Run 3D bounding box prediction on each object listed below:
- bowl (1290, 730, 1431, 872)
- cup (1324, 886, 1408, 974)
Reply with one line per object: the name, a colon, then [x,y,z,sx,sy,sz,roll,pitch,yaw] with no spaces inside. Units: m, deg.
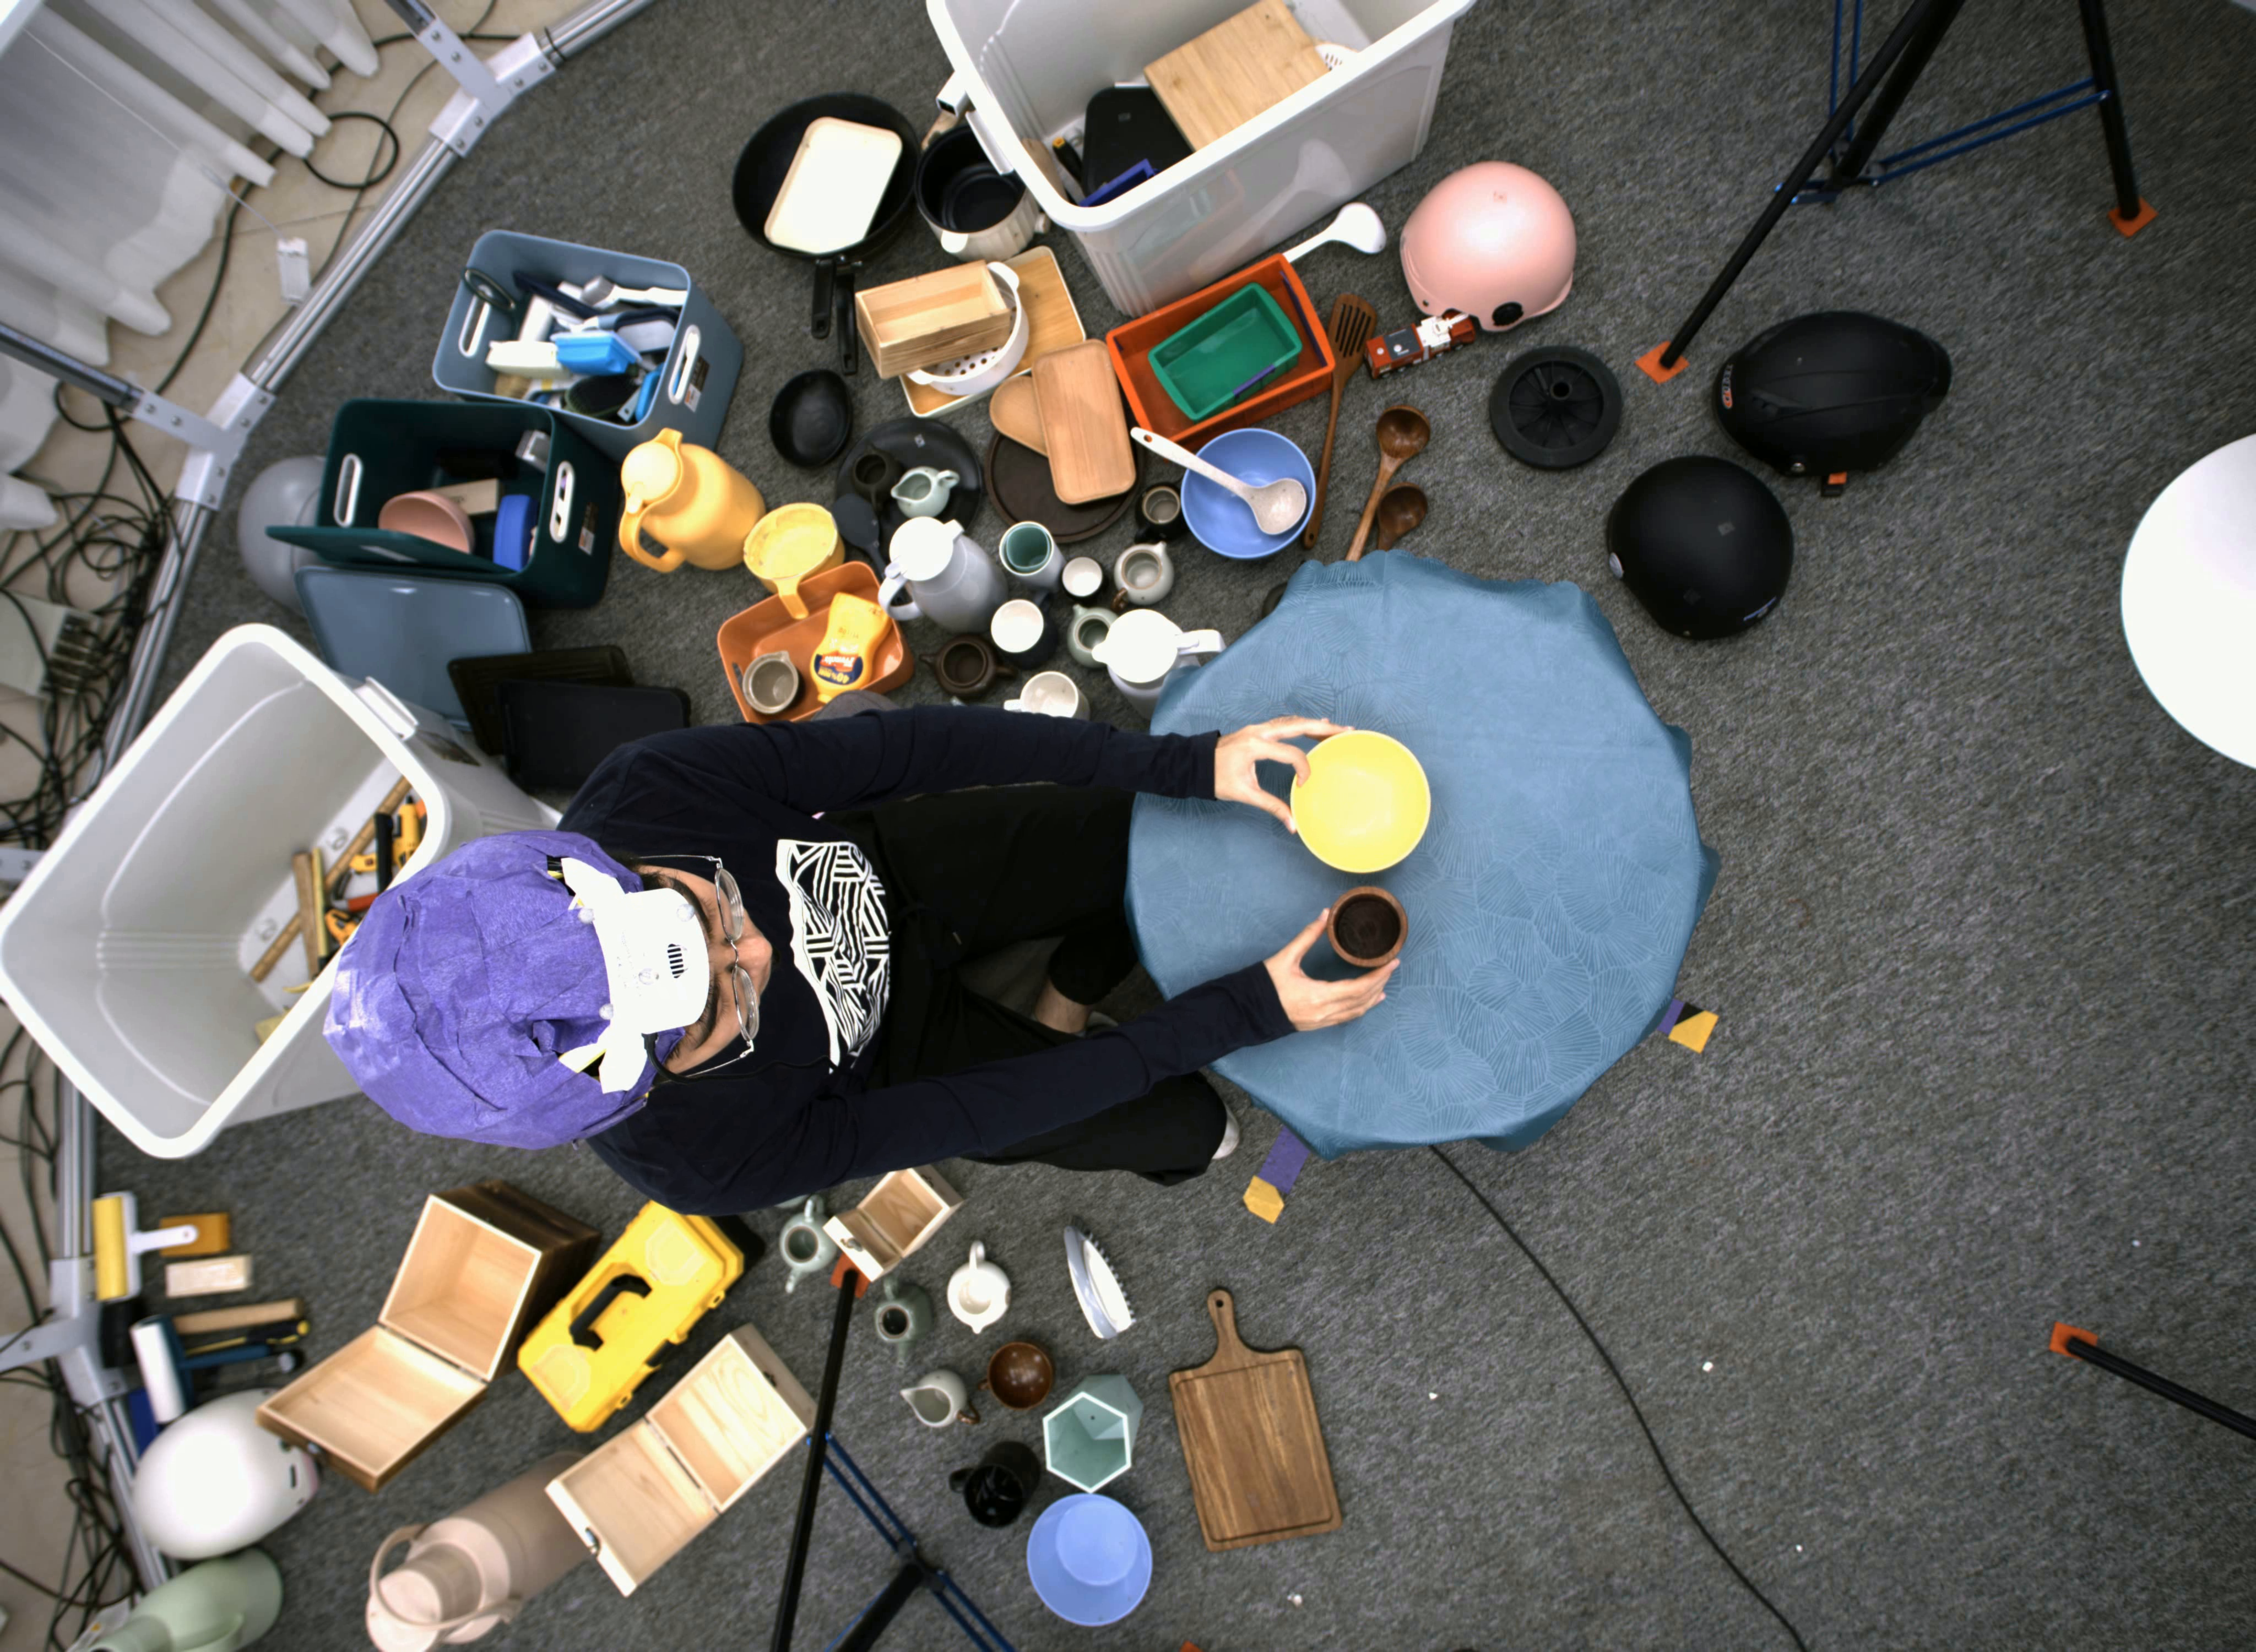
bowl: [0.236,-0.026,1.426,0.145,0.060,0.145,0,91,1]
cup: [0.242,0.108,1.403,0.088,0.119,0.087,-2,81,11]
